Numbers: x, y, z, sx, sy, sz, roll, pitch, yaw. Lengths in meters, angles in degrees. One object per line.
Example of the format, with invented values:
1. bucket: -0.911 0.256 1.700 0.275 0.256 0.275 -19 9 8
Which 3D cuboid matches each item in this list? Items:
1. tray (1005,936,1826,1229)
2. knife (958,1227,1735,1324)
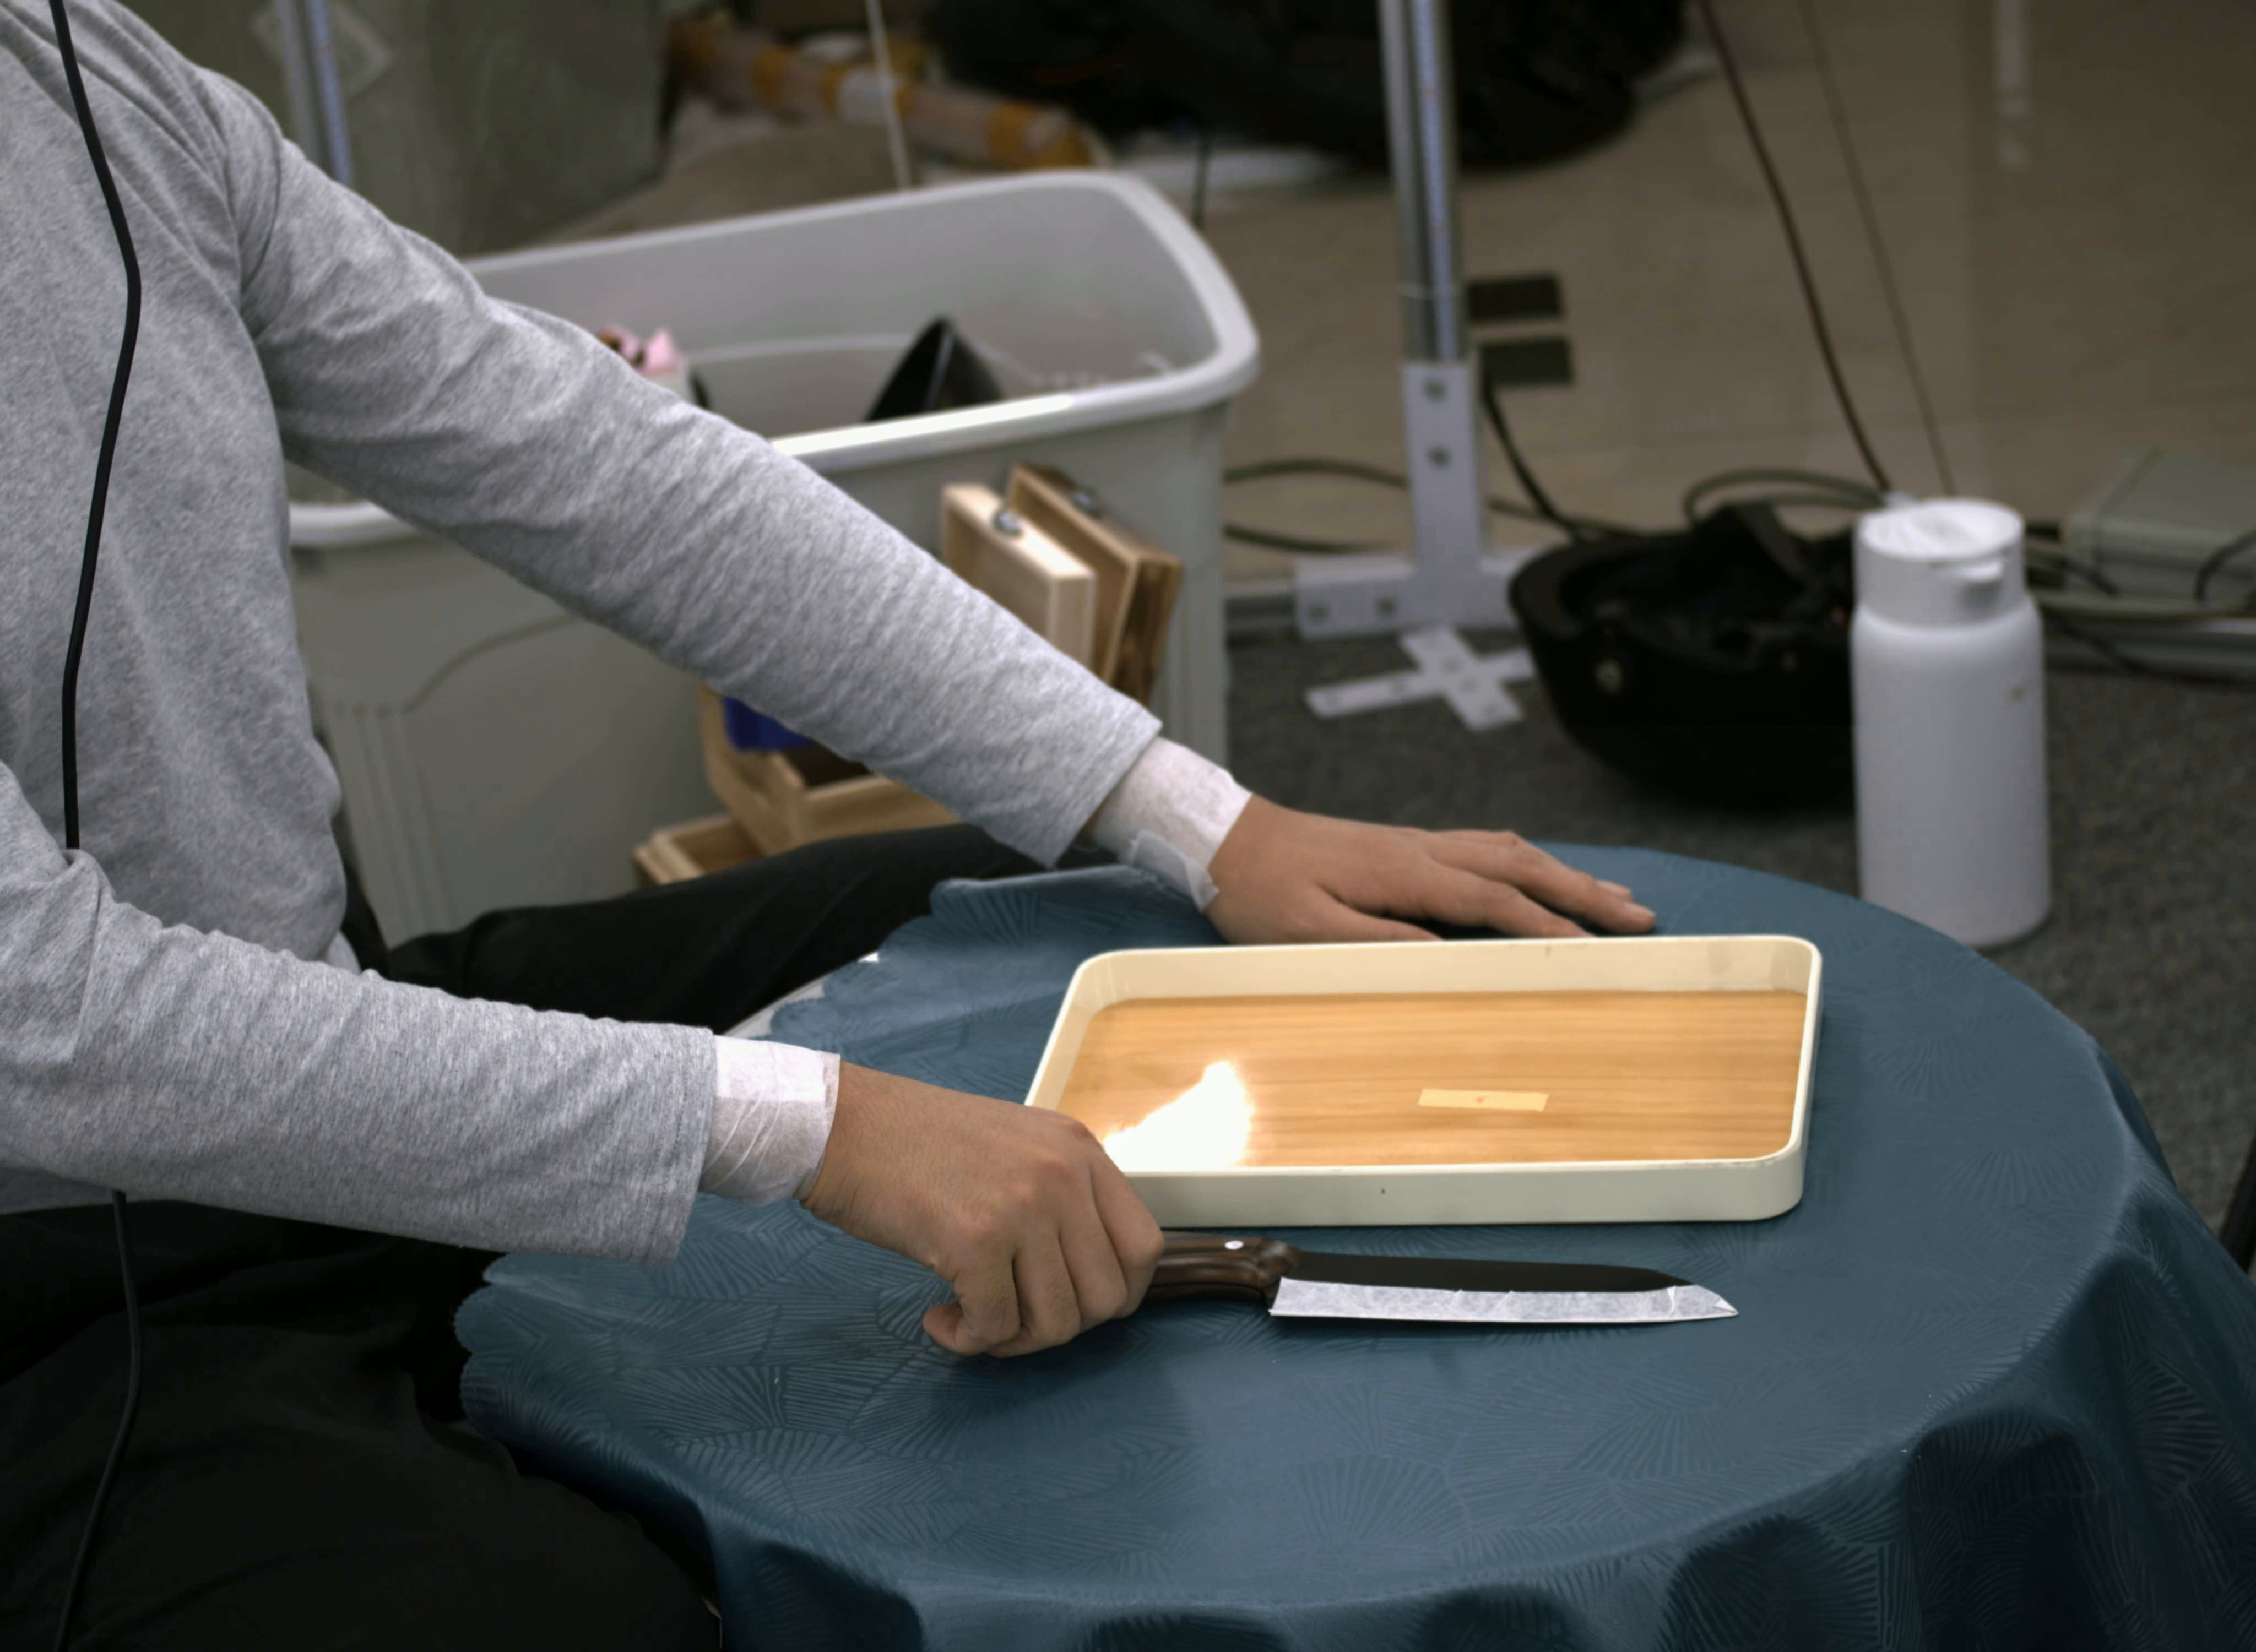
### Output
1. tray: 0.114 0.098 2.181 0.300 0.028 0.189 -2 25 11
2. knife: 0.076 0.166 2.057 0.288 0.020 0.049 2 28 13
